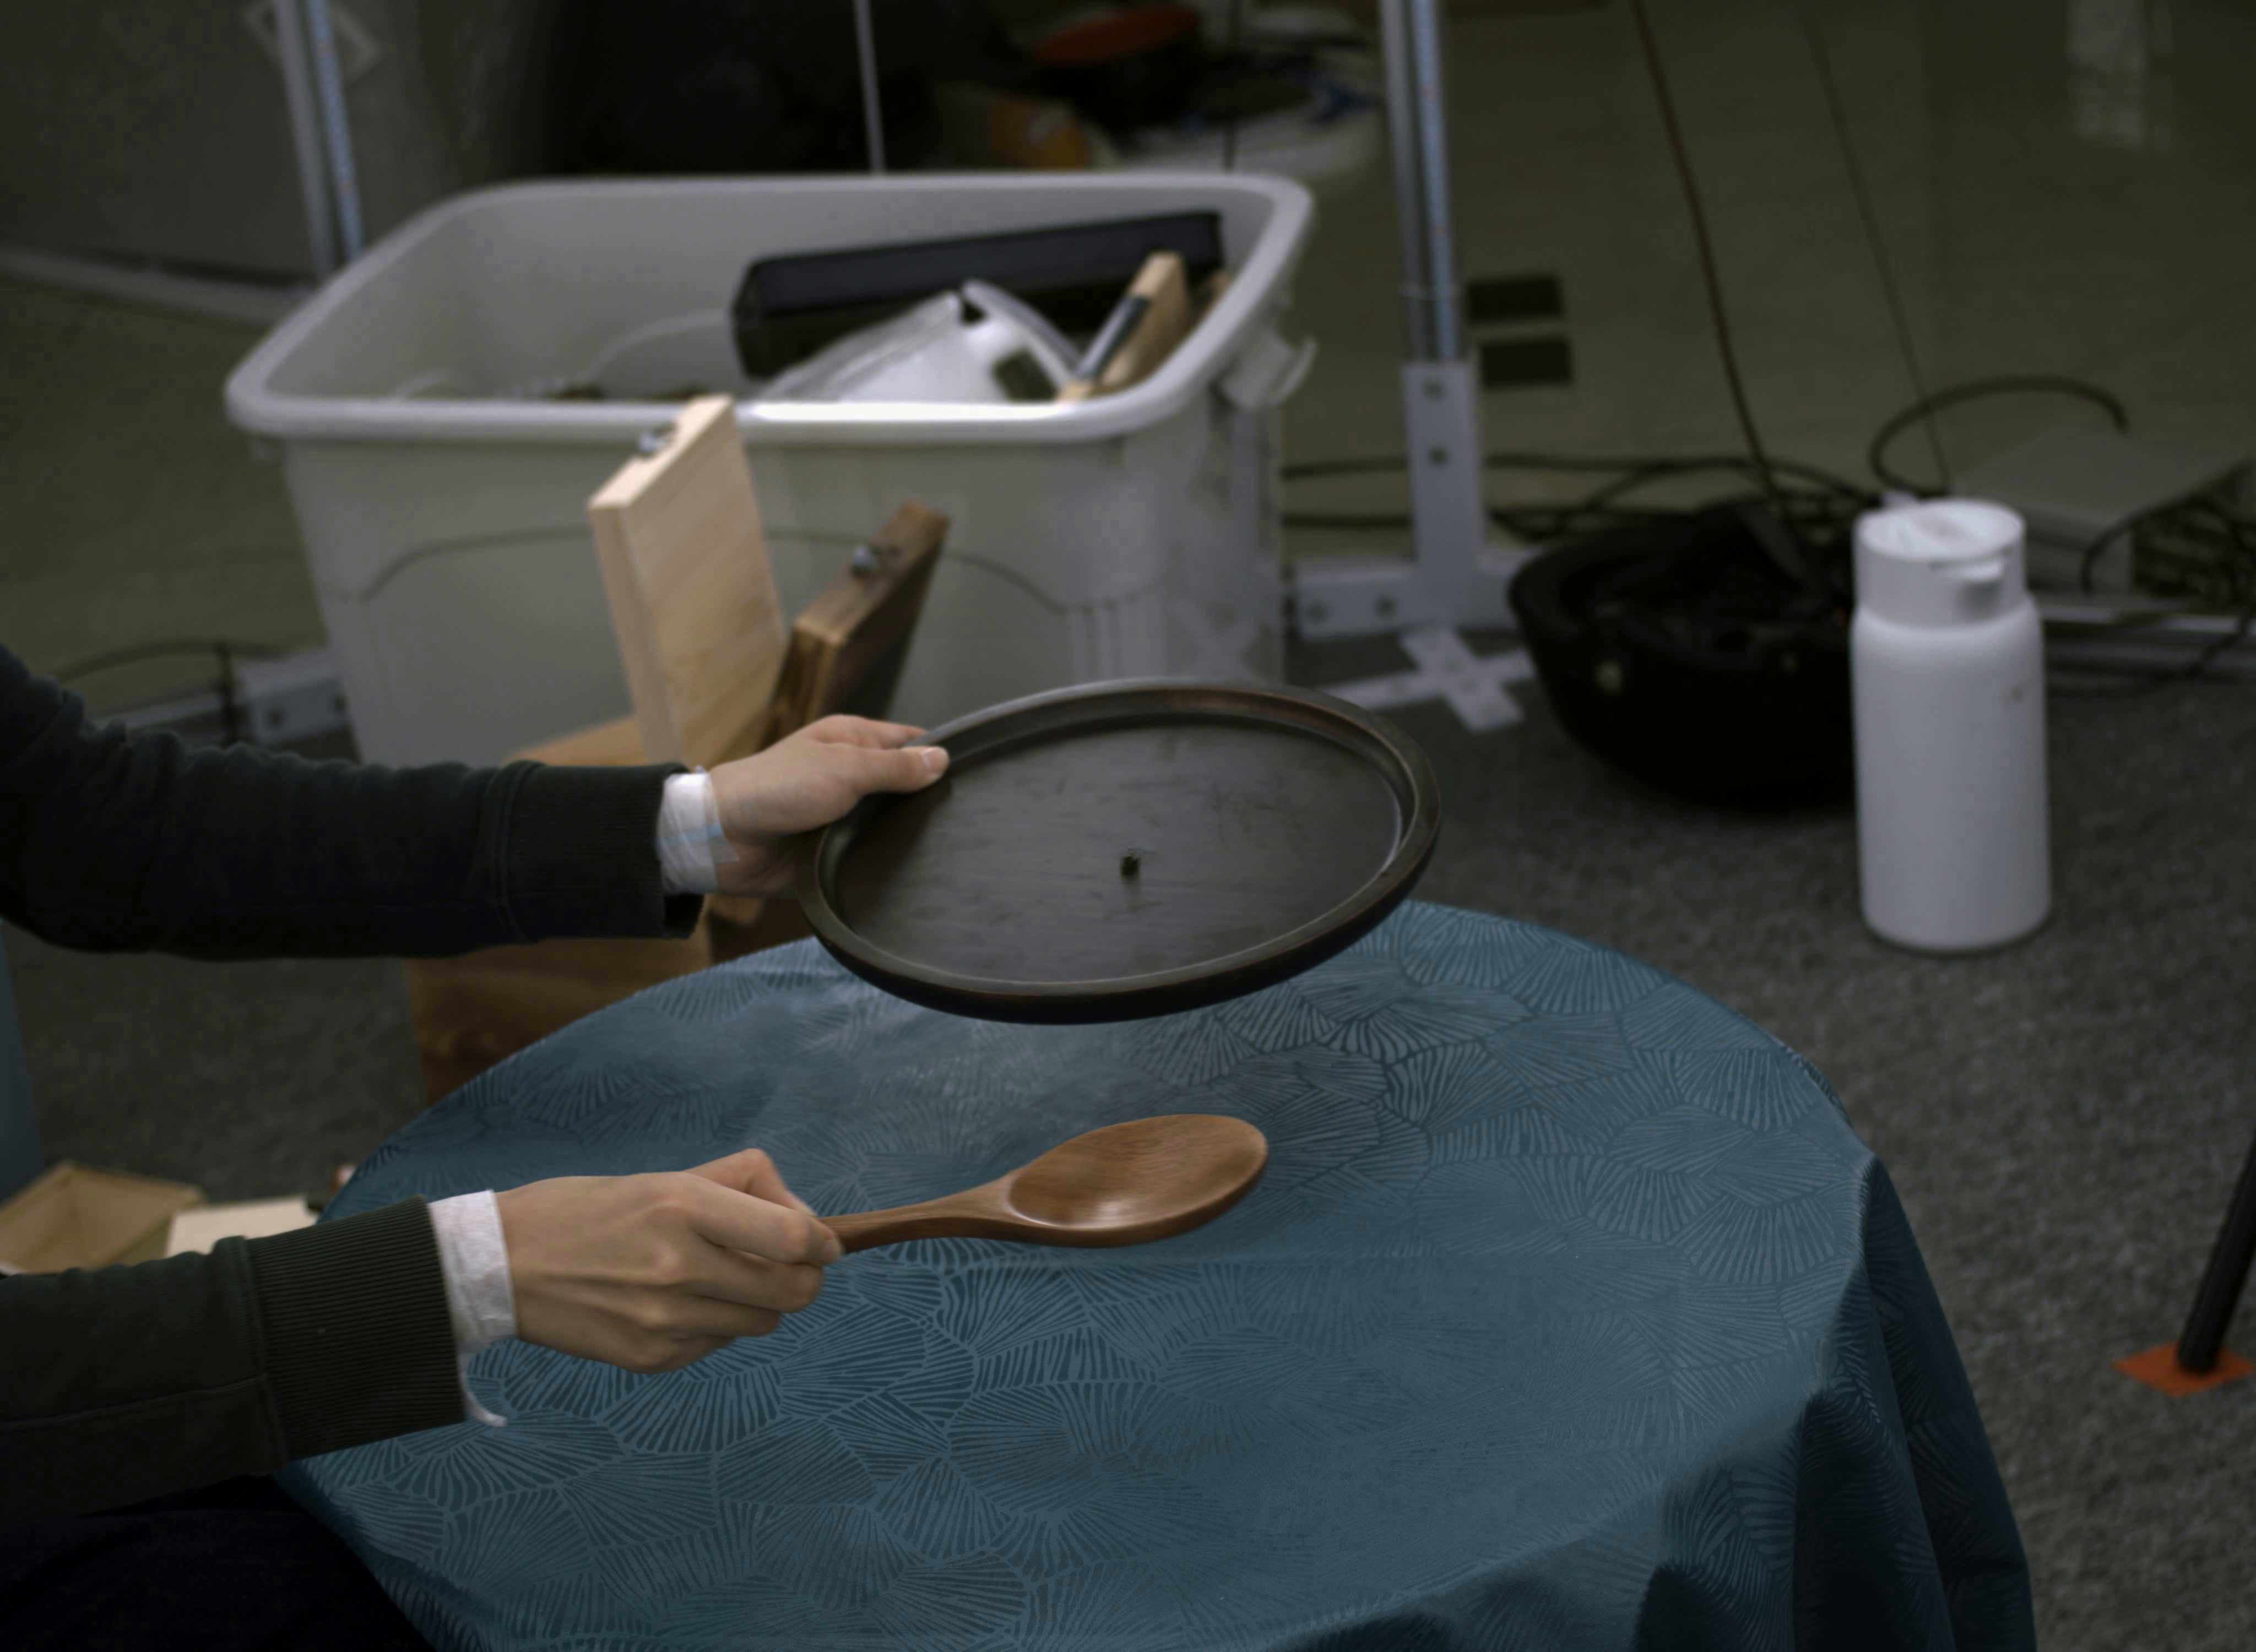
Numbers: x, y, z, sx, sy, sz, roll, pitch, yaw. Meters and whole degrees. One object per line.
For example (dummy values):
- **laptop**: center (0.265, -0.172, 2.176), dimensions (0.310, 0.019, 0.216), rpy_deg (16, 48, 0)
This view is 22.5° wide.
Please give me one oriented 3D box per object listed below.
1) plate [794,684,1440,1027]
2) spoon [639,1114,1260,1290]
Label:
- **plate**: center (-0.004, 0.010, 2.189), dimensions (0.254, 0.029, 0.251), rpy_deg (-6, 28, 3)
- **spoon**: center (-0.060, 0.132, 1.914), dimensions (0.215, 0.017, 0.074), rpy_deg (-10, 25, 8)
